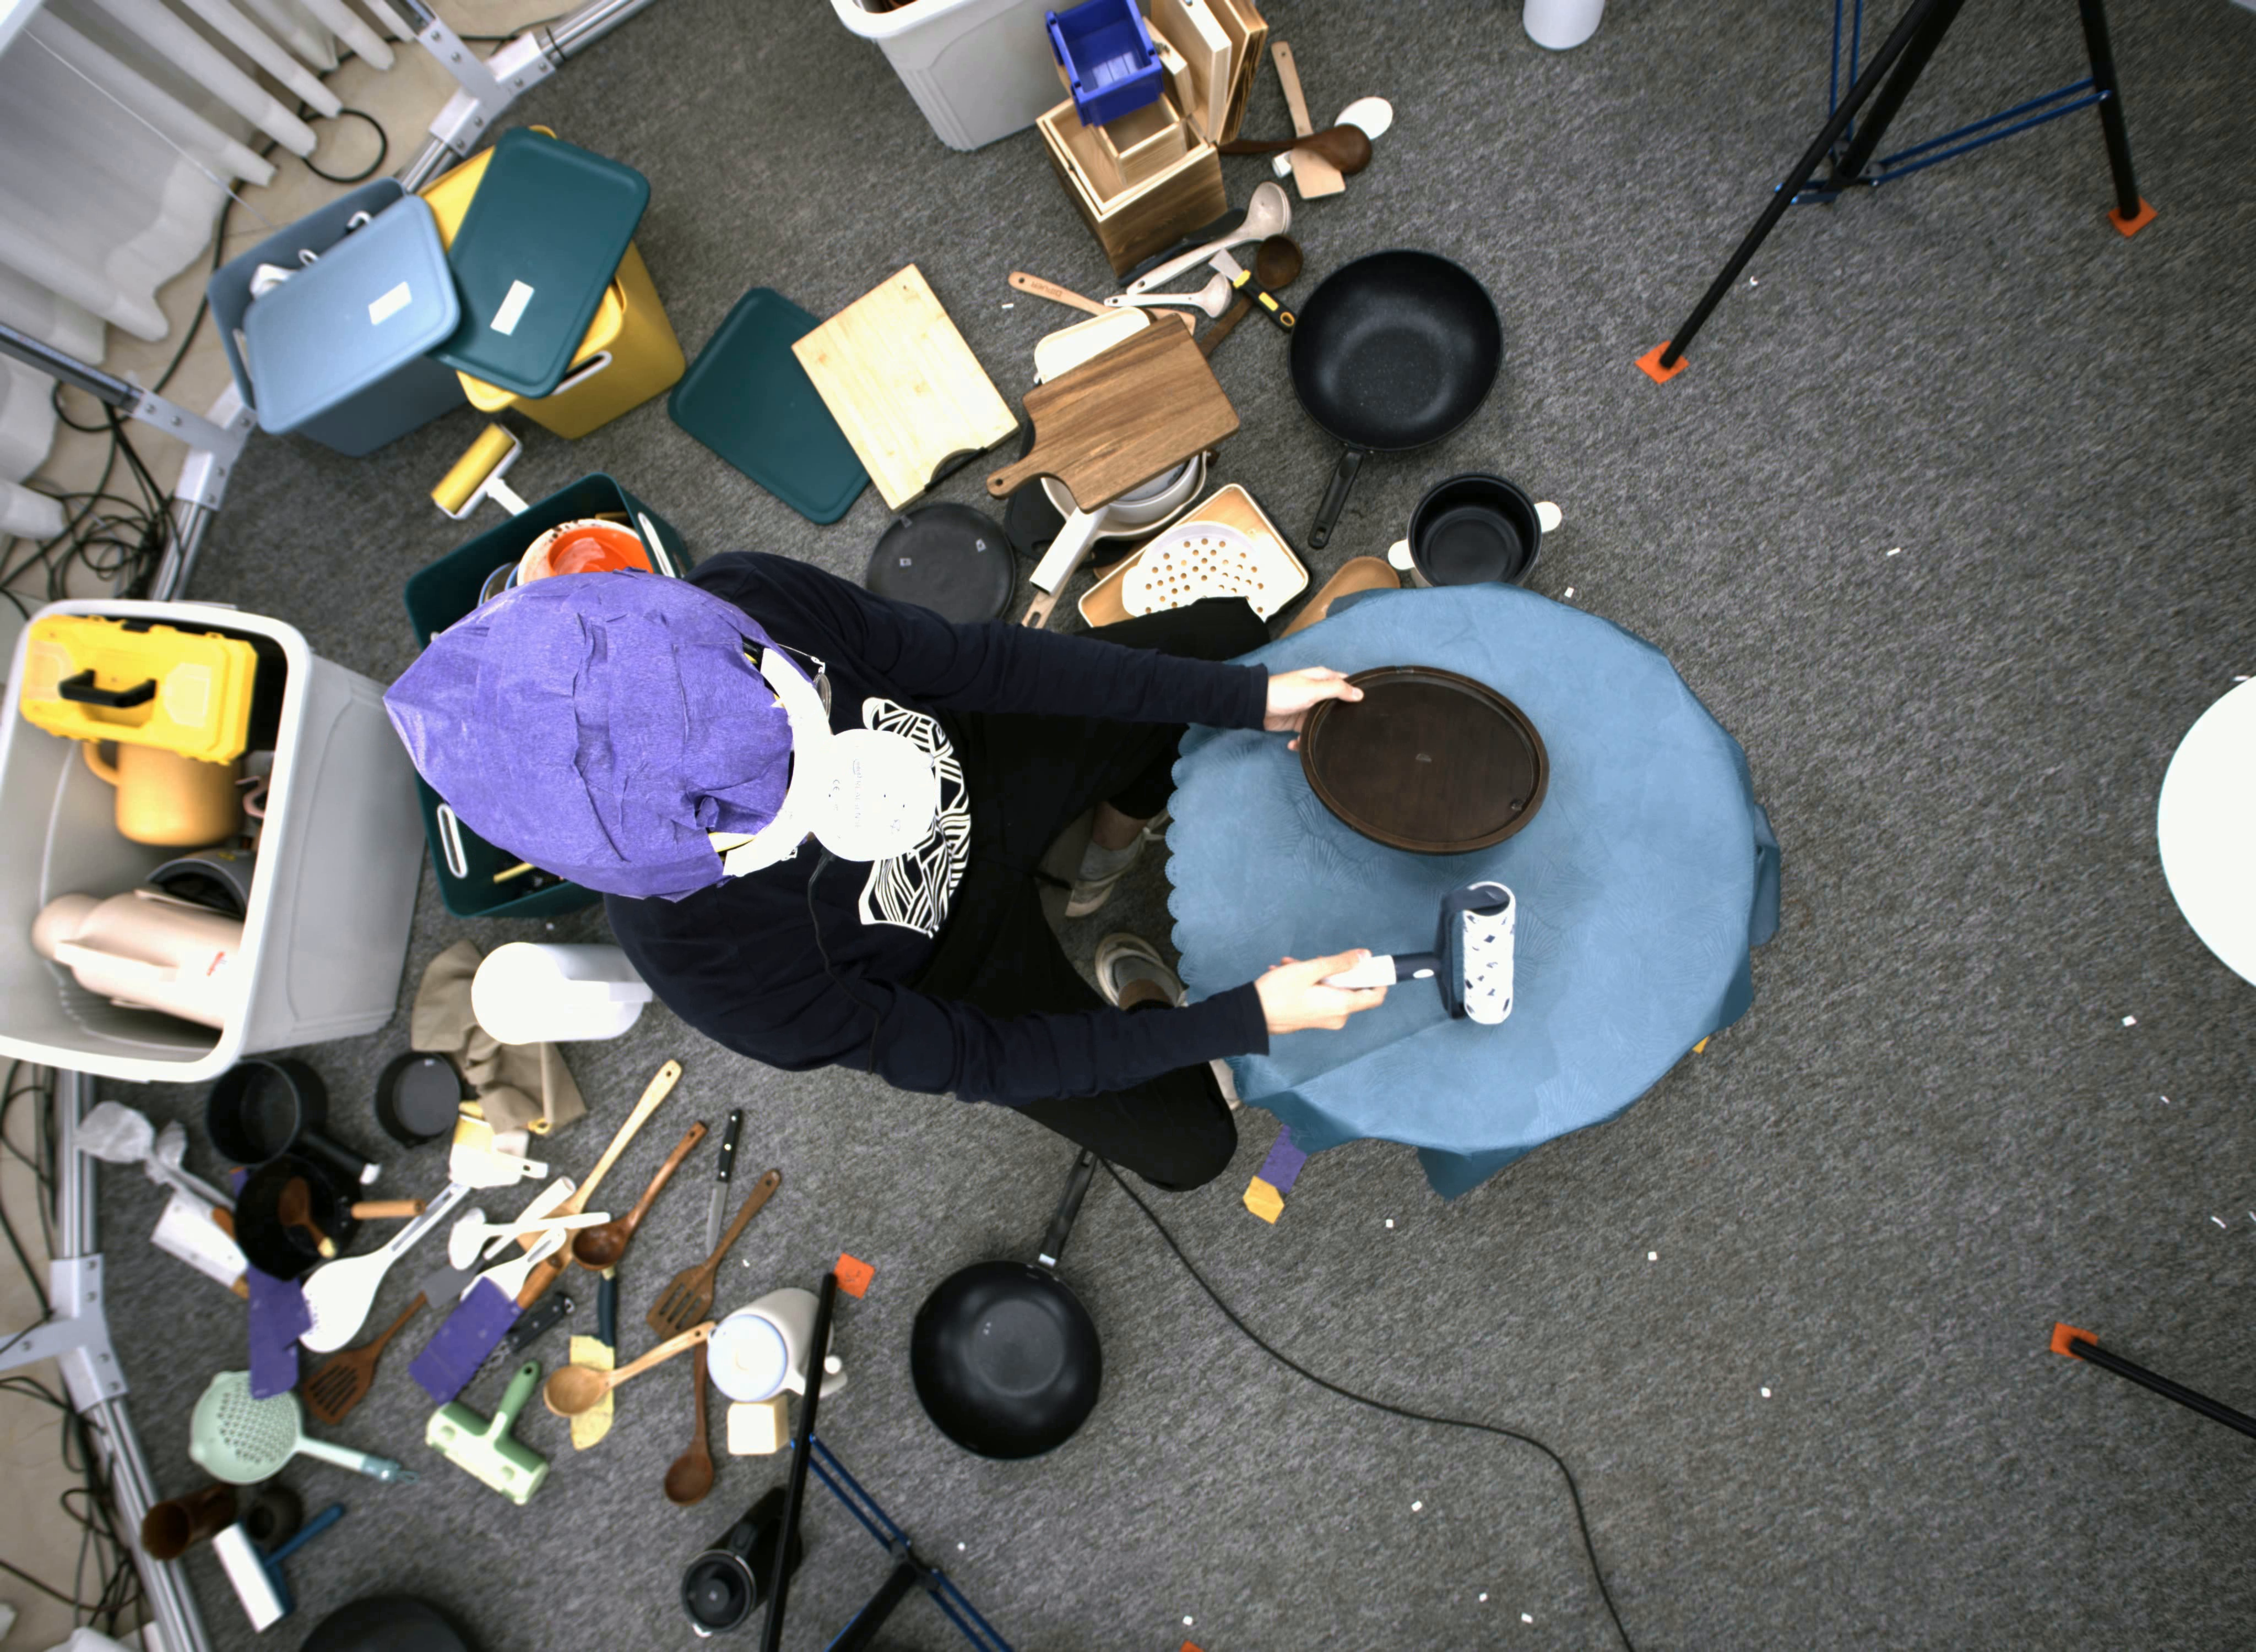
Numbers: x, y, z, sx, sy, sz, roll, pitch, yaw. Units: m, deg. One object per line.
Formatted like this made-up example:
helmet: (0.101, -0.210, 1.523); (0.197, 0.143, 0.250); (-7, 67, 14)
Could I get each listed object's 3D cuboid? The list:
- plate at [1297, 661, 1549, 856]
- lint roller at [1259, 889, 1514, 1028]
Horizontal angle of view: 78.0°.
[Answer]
plate: (0.297, -0.071, 1.390); (0.255, 0.030, 0.248); (-1, 53, 1)
lint roller: (0.252, 0.144, 1.355); (0.248, 0.180, 0.049); (-9, 45, 7)
